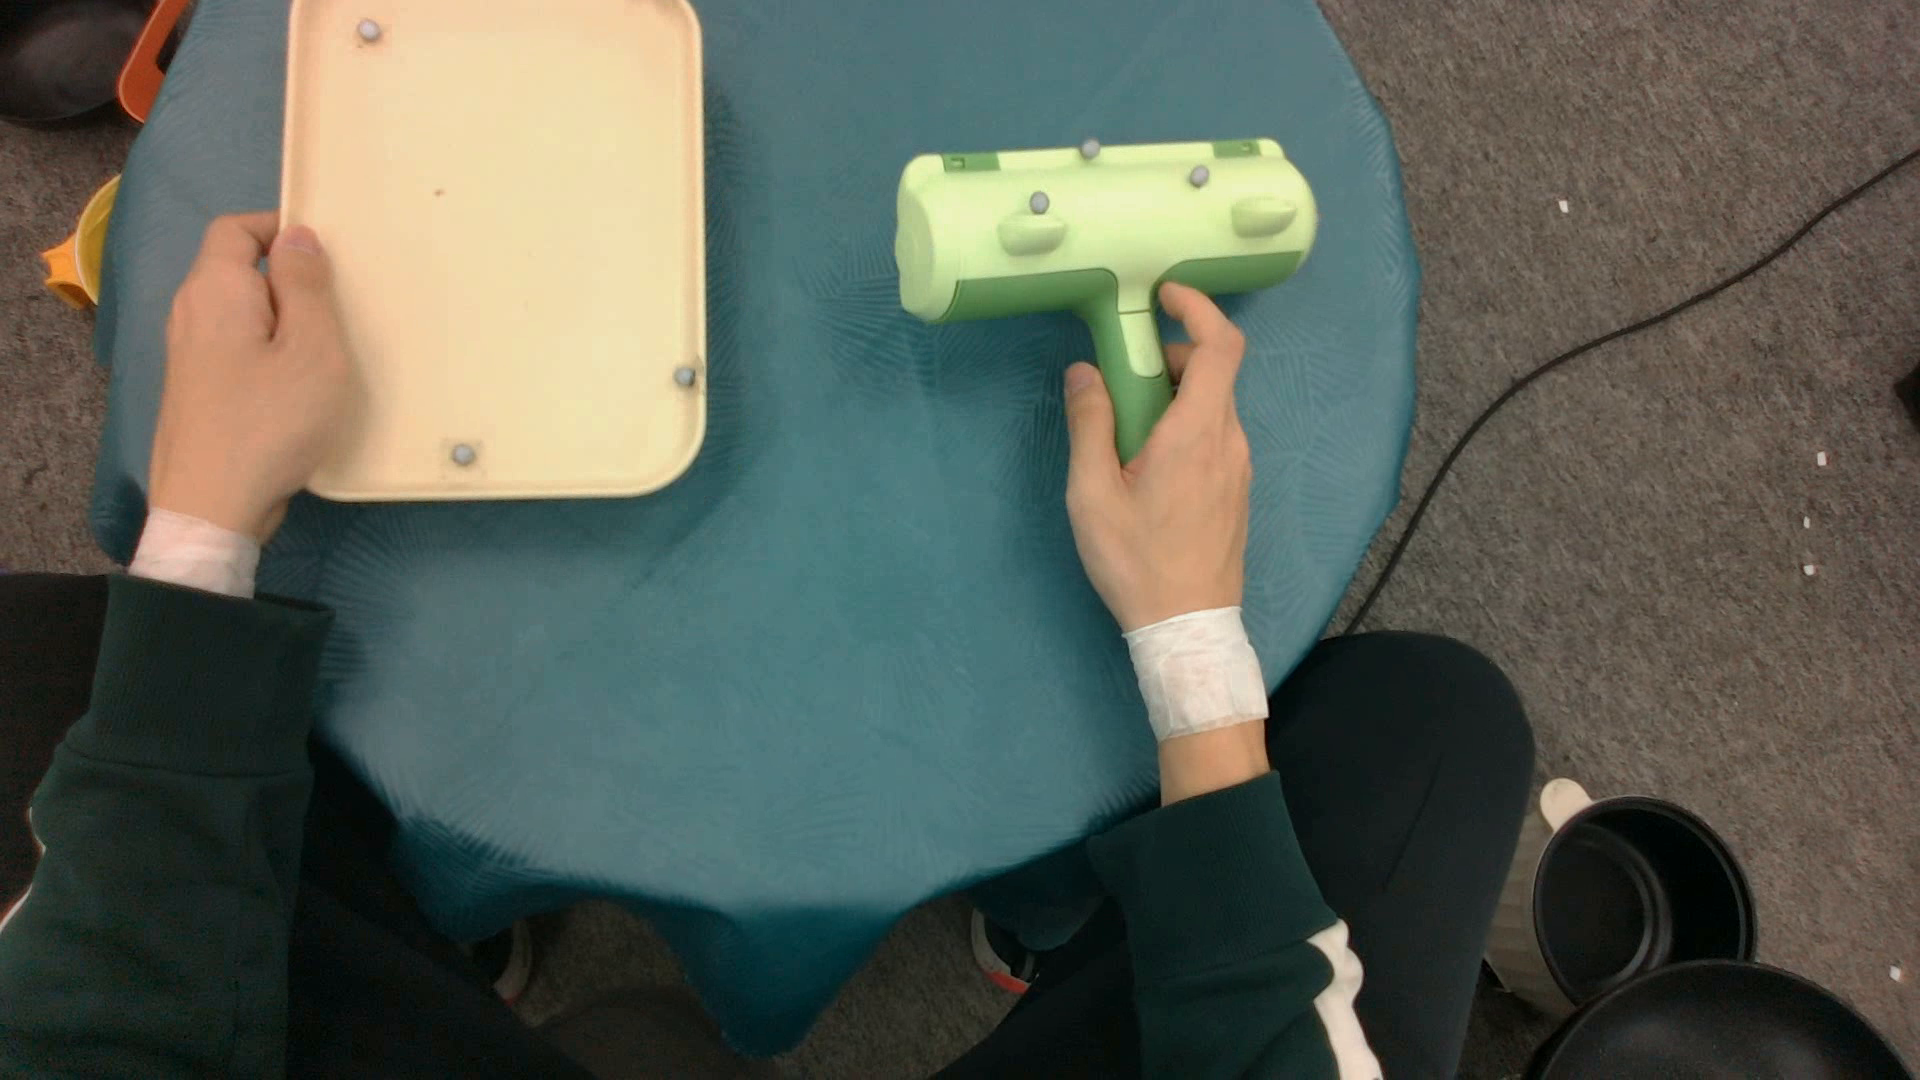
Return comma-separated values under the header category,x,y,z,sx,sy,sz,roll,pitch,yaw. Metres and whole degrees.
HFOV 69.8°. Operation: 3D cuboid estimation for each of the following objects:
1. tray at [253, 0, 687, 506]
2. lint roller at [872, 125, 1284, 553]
category,x,y,z,sx,sy,sz,roll,pitch,yaw
tray,-0.204,-0.133,0.578,0.171,0.017,0.240,-3,79,-7
lint roller,0.073,-0.089,0.593,0.199,0.082,0.183,-12,82,-28
